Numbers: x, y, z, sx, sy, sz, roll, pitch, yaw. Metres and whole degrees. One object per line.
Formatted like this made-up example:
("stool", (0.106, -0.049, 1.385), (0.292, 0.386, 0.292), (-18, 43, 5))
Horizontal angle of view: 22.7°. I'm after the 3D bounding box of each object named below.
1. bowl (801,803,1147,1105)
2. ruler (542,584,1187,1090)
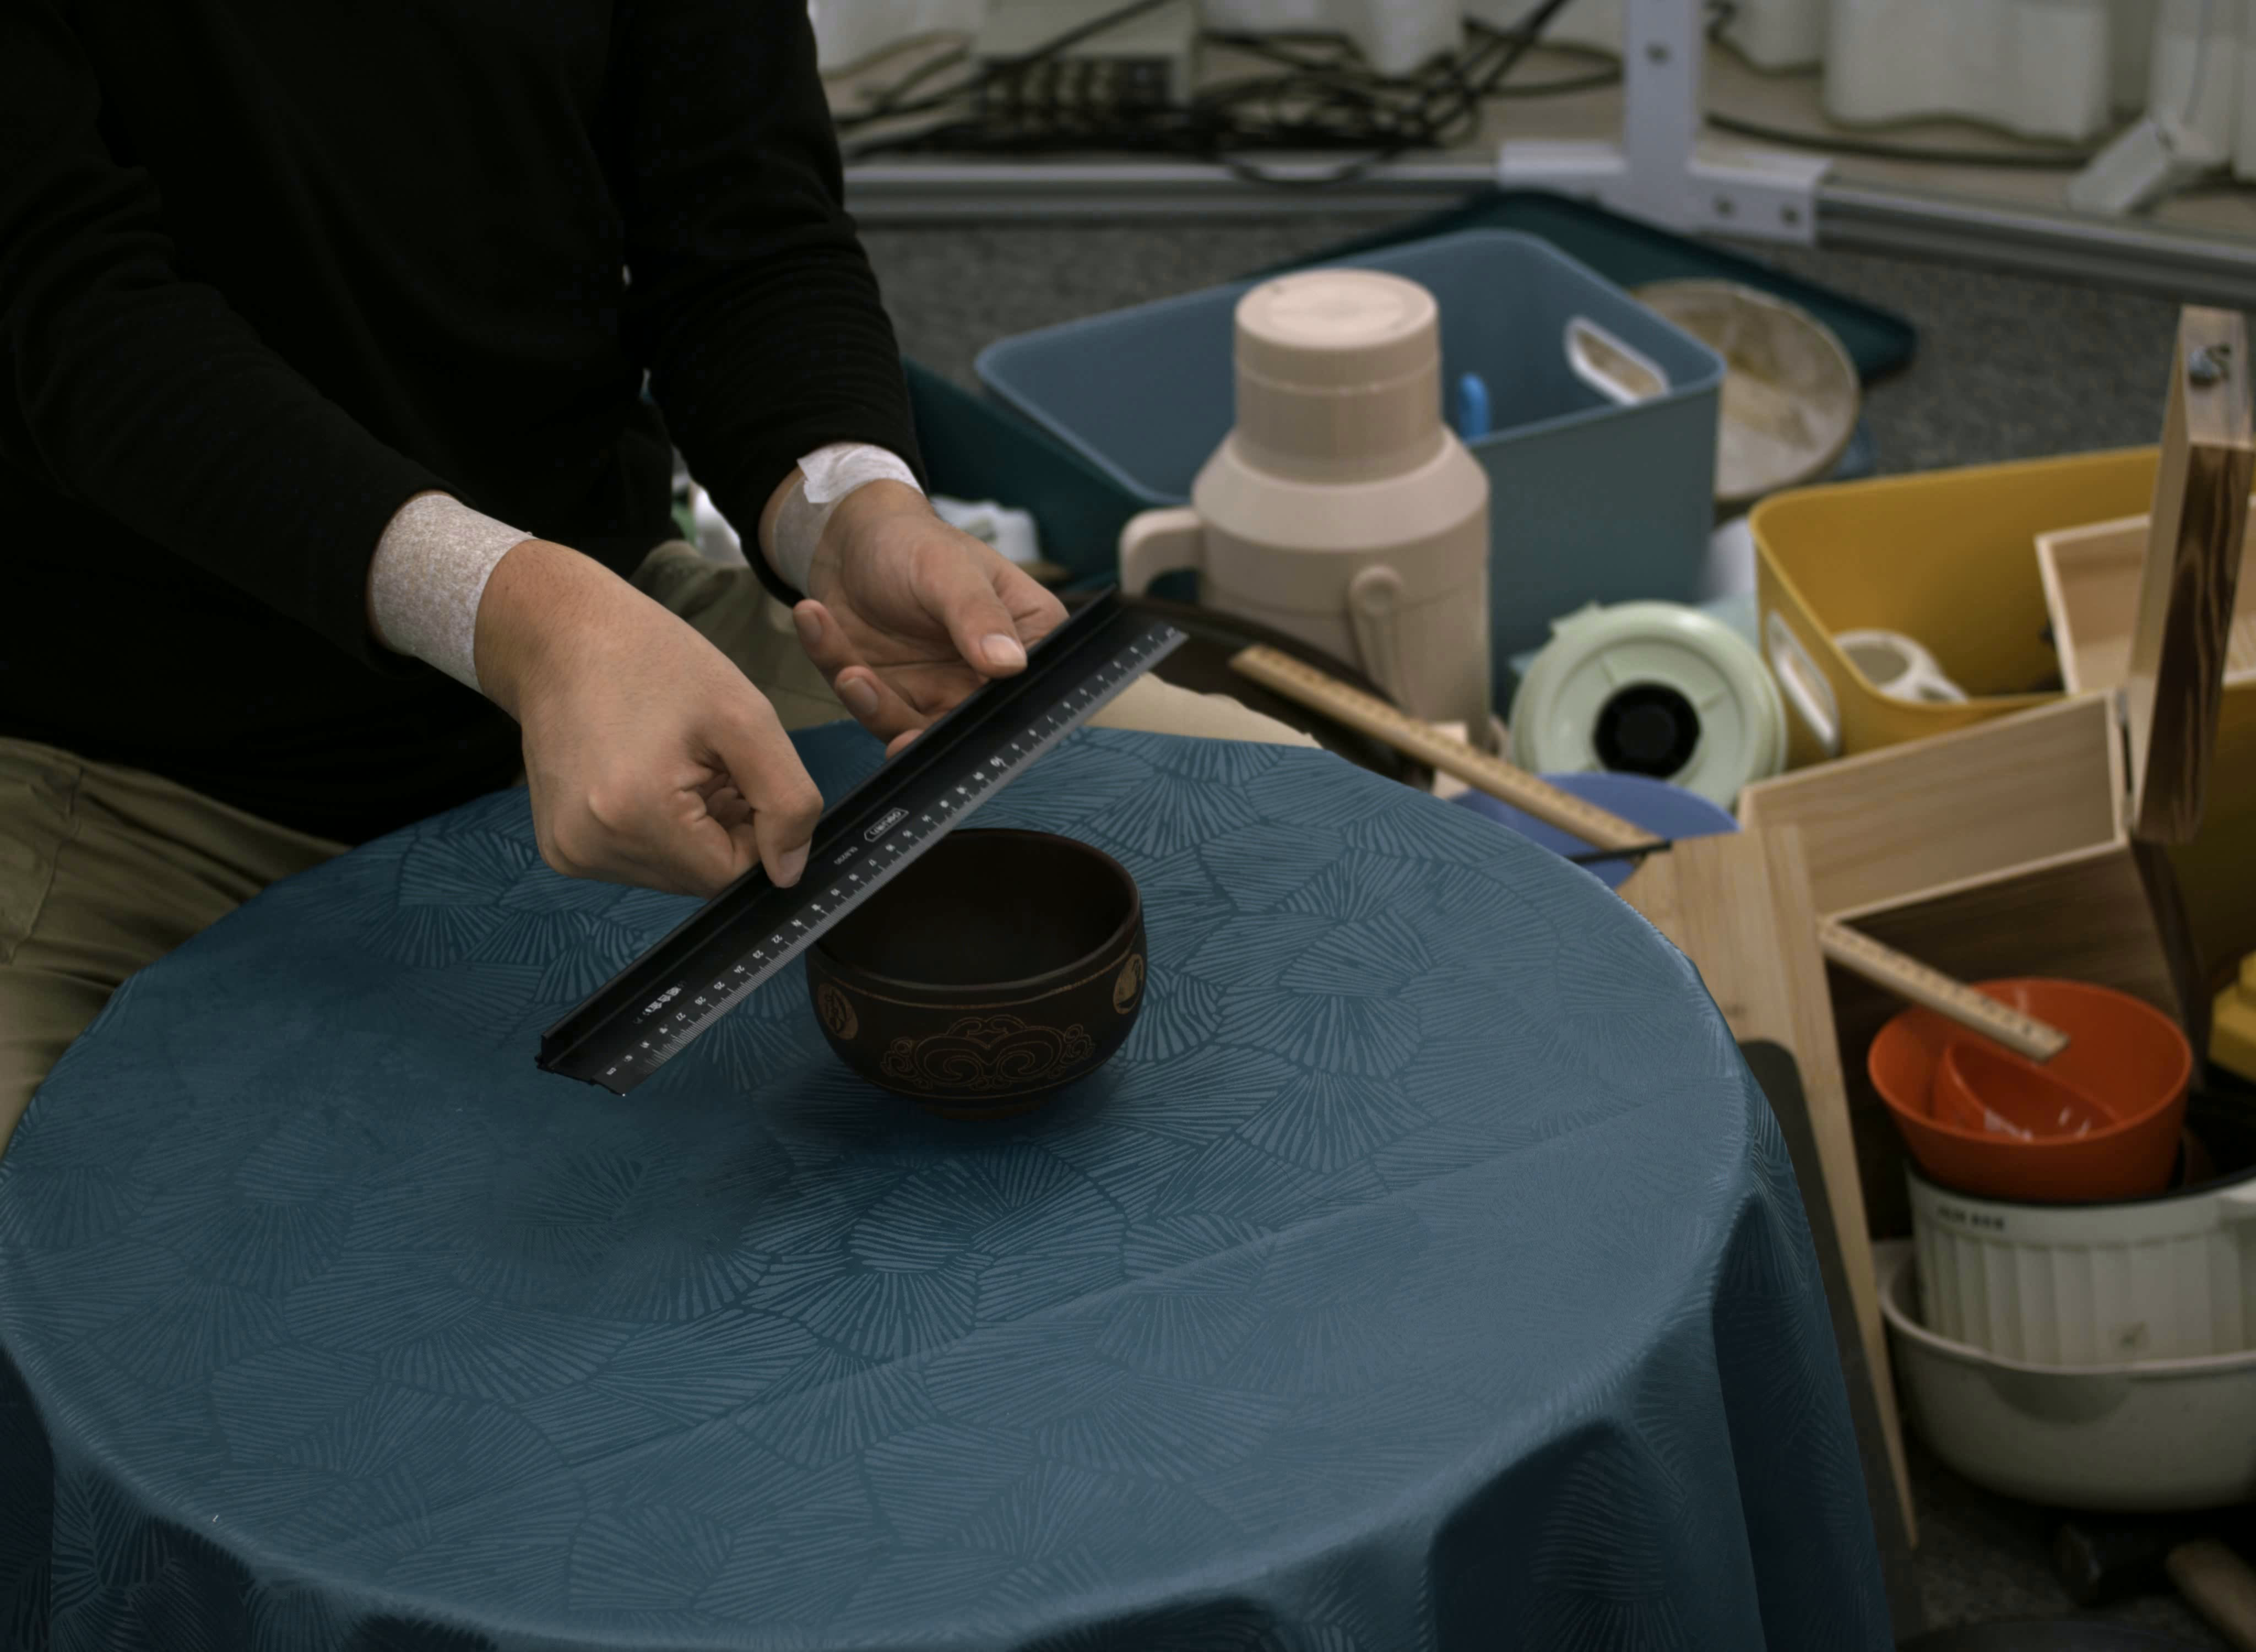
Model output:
("bowl", (-0.053, 0.051, 1.915), (0.117, 0.069, 0.120), (1, 31, 0))
("ruler", (-0.085, -0.001, 1.900), (0.039, 0.017, 0.317), (15, 39, 34))
